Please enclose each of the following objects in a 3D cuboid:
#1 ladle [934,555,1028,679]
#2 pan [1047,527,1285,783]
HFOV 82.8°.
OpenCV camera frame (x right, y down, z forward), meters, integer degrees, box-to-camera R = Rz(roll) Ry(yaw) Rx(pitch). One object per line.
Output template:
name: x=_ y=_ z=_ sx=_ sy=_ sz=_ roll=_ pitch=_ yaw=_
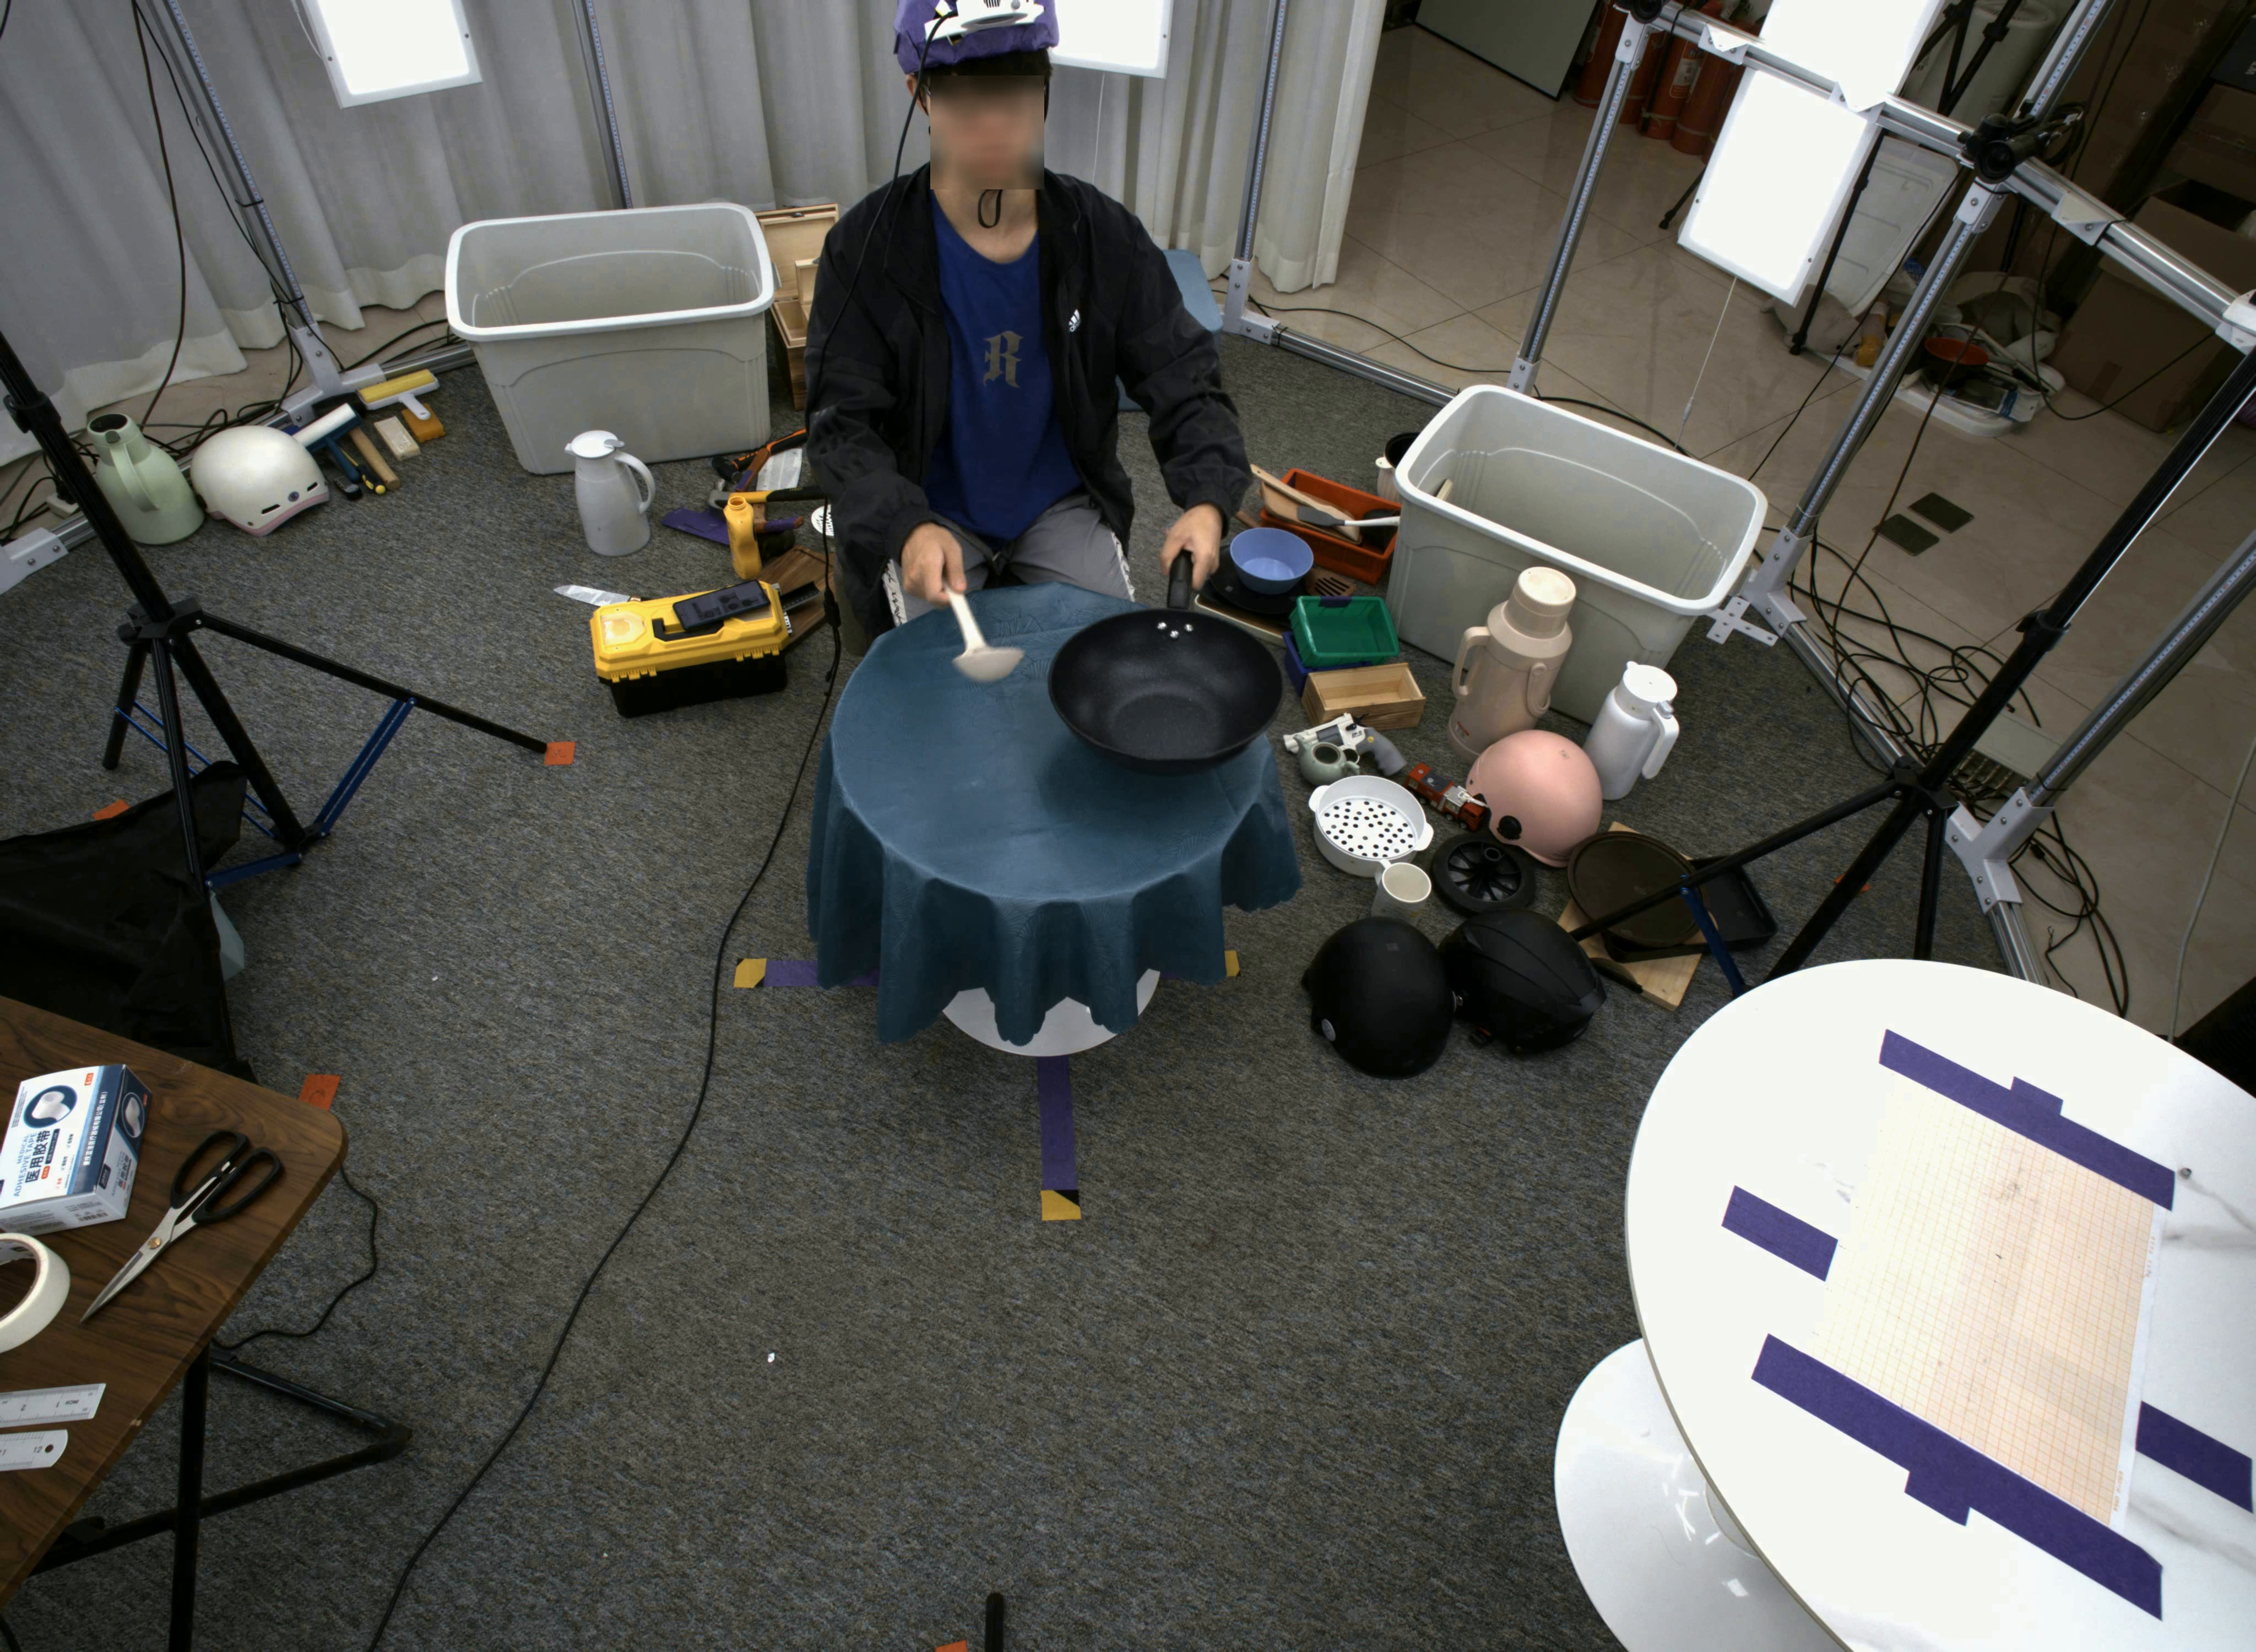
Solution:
ladle: x=-0.207 y=-0.294 z=1.676 sx=0.089 sy=0.068 sz=0.281 roll=-9 pitch=49 yaw=-20
pan: x=0.059 y=-0.227 z=1.750 sx=0.310 sy=0.109 sz=0.488 roll=5 pitch=46 yaw=4
